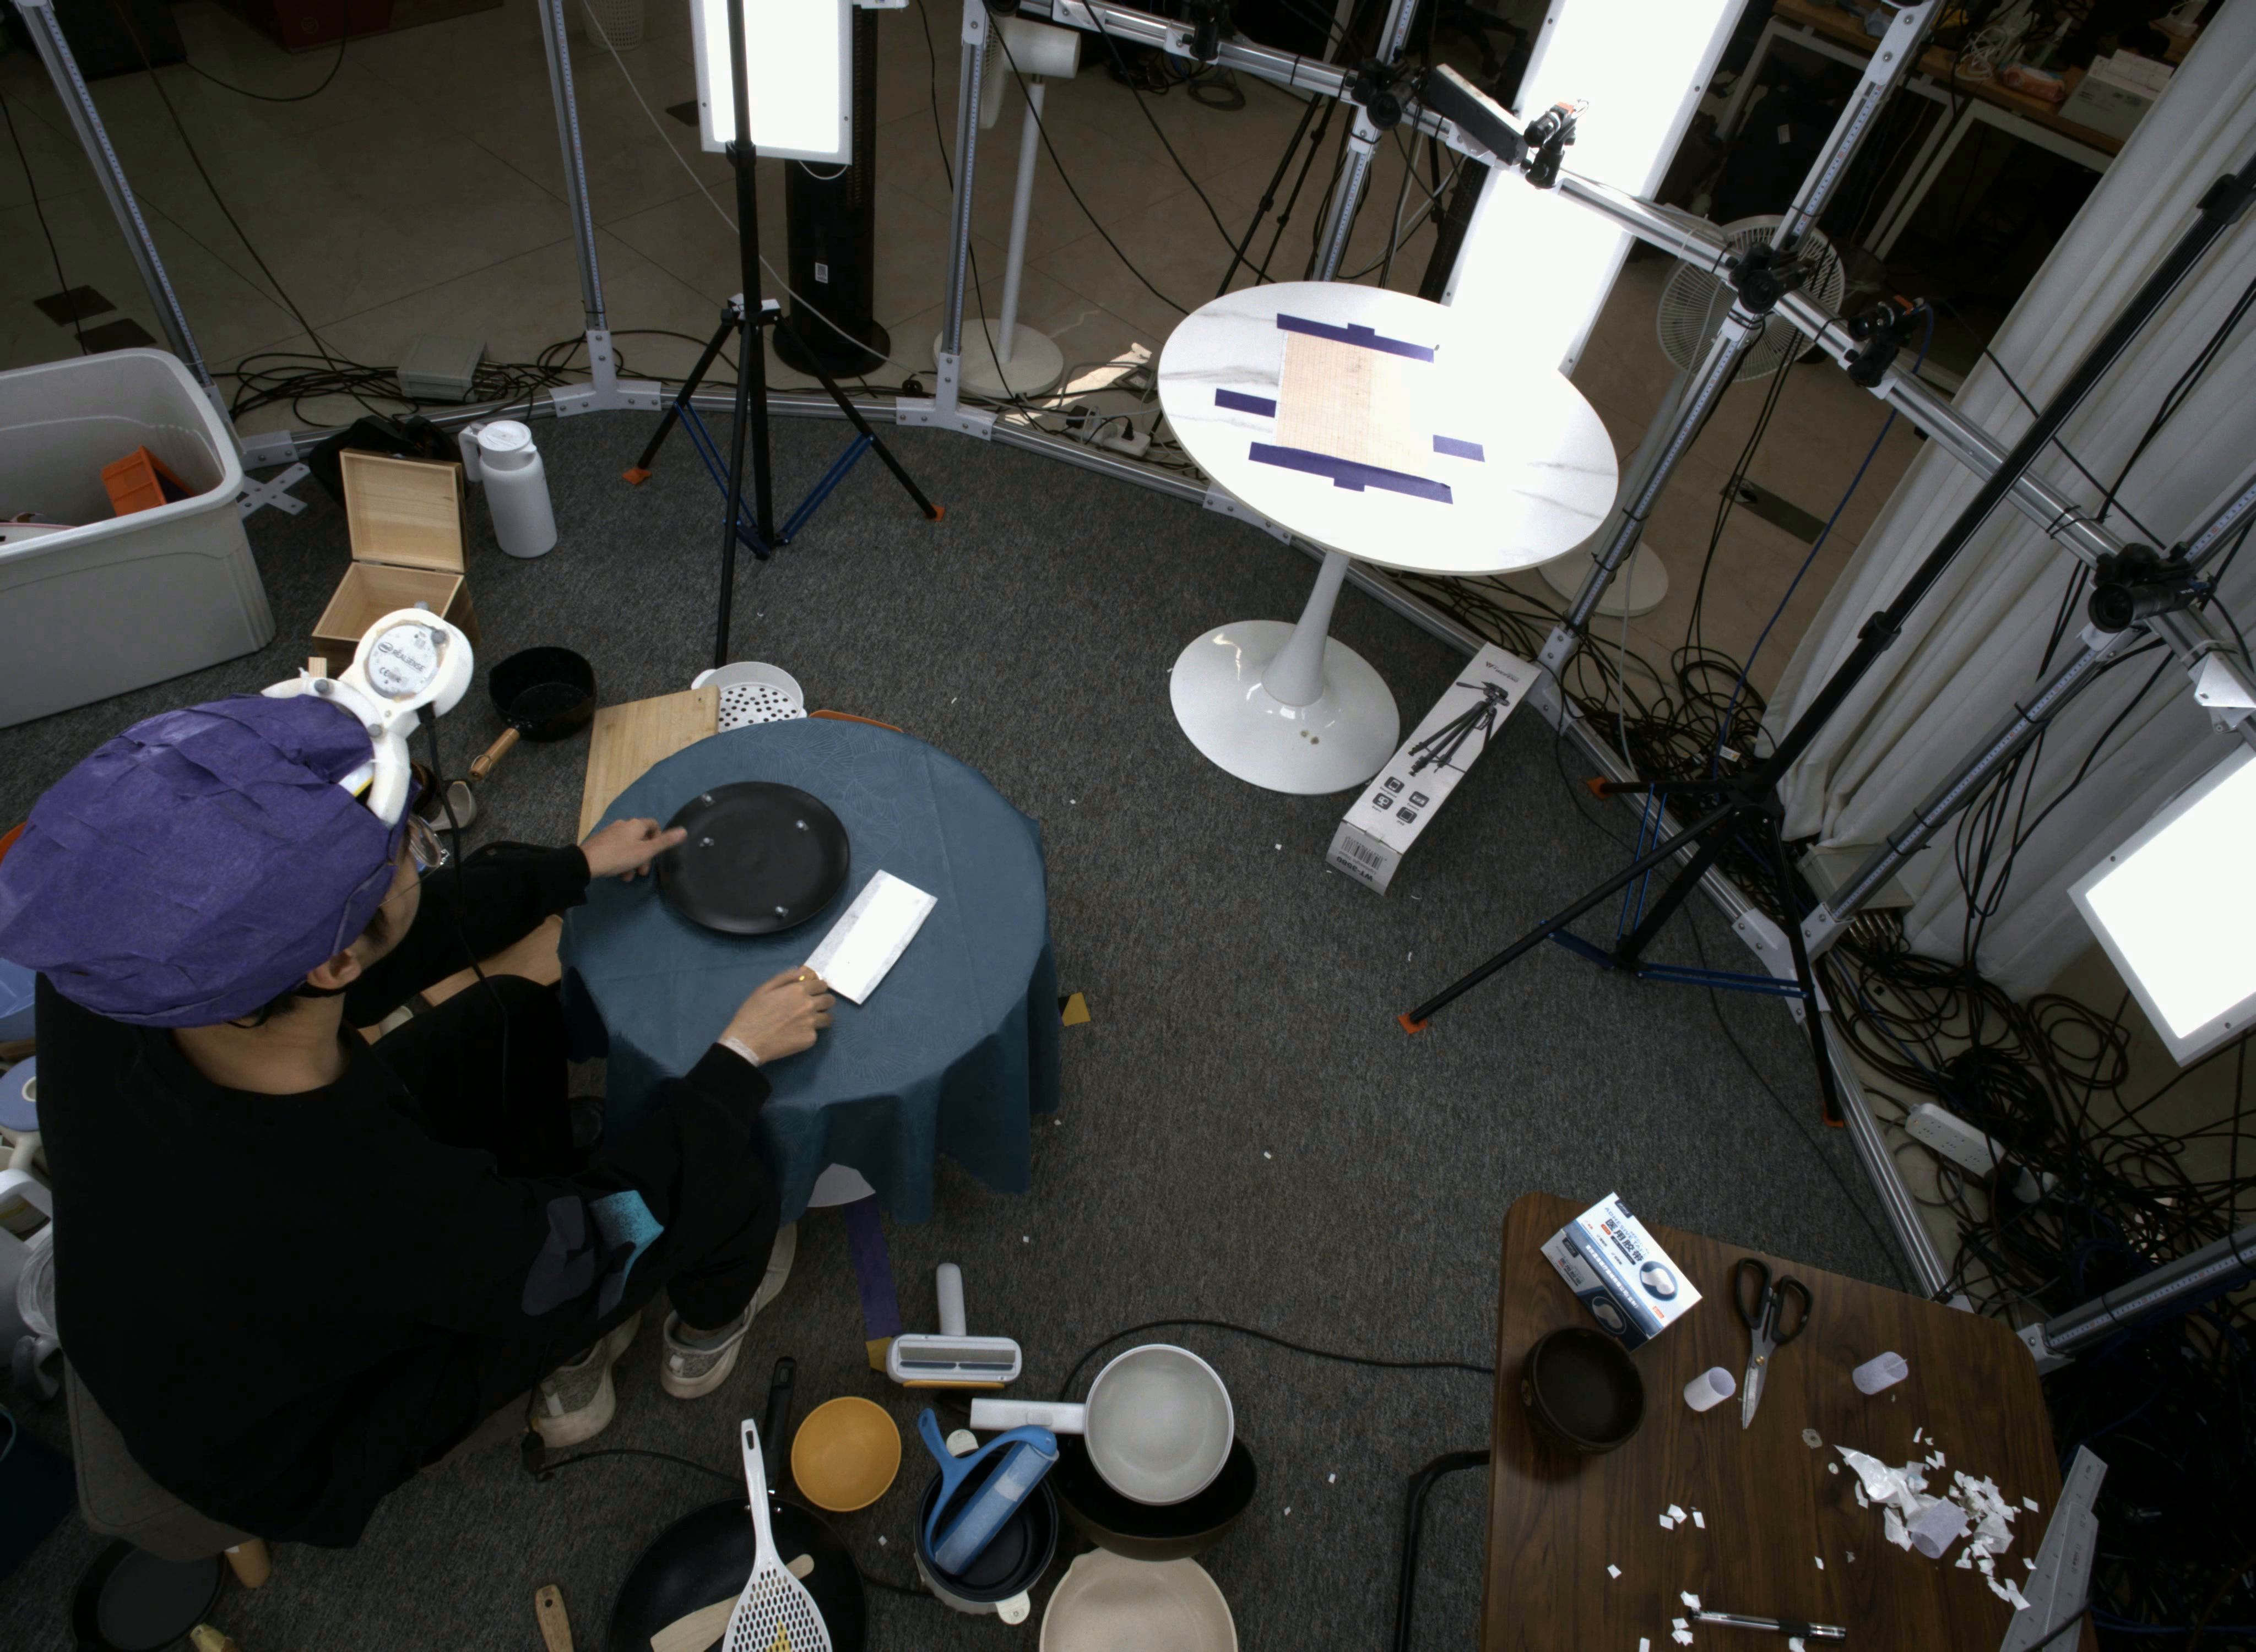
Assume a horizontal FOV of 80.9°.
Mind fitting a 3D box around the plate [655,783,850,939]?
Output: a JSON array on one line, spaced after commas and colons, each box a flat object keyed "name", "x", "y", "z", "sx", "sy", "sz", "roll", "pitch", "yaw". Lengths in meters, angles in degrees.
[{"name": "plate", "x": -0.478, "y": 0.043, "z": 1.651, "sx": 0.244, "sy": 0.024, "sz": 0.240, "roll": 8, "pitch": 52, "yaw": -9}]

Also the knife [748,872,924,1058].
[{"name": "knife", "x": -0.348, "y": 0.172, "z": 1.596, "sx": 0.092, "sy": 0.021, "sz": 0.304, "roll": 28, "pitch": 49, "yaw": 5}]
